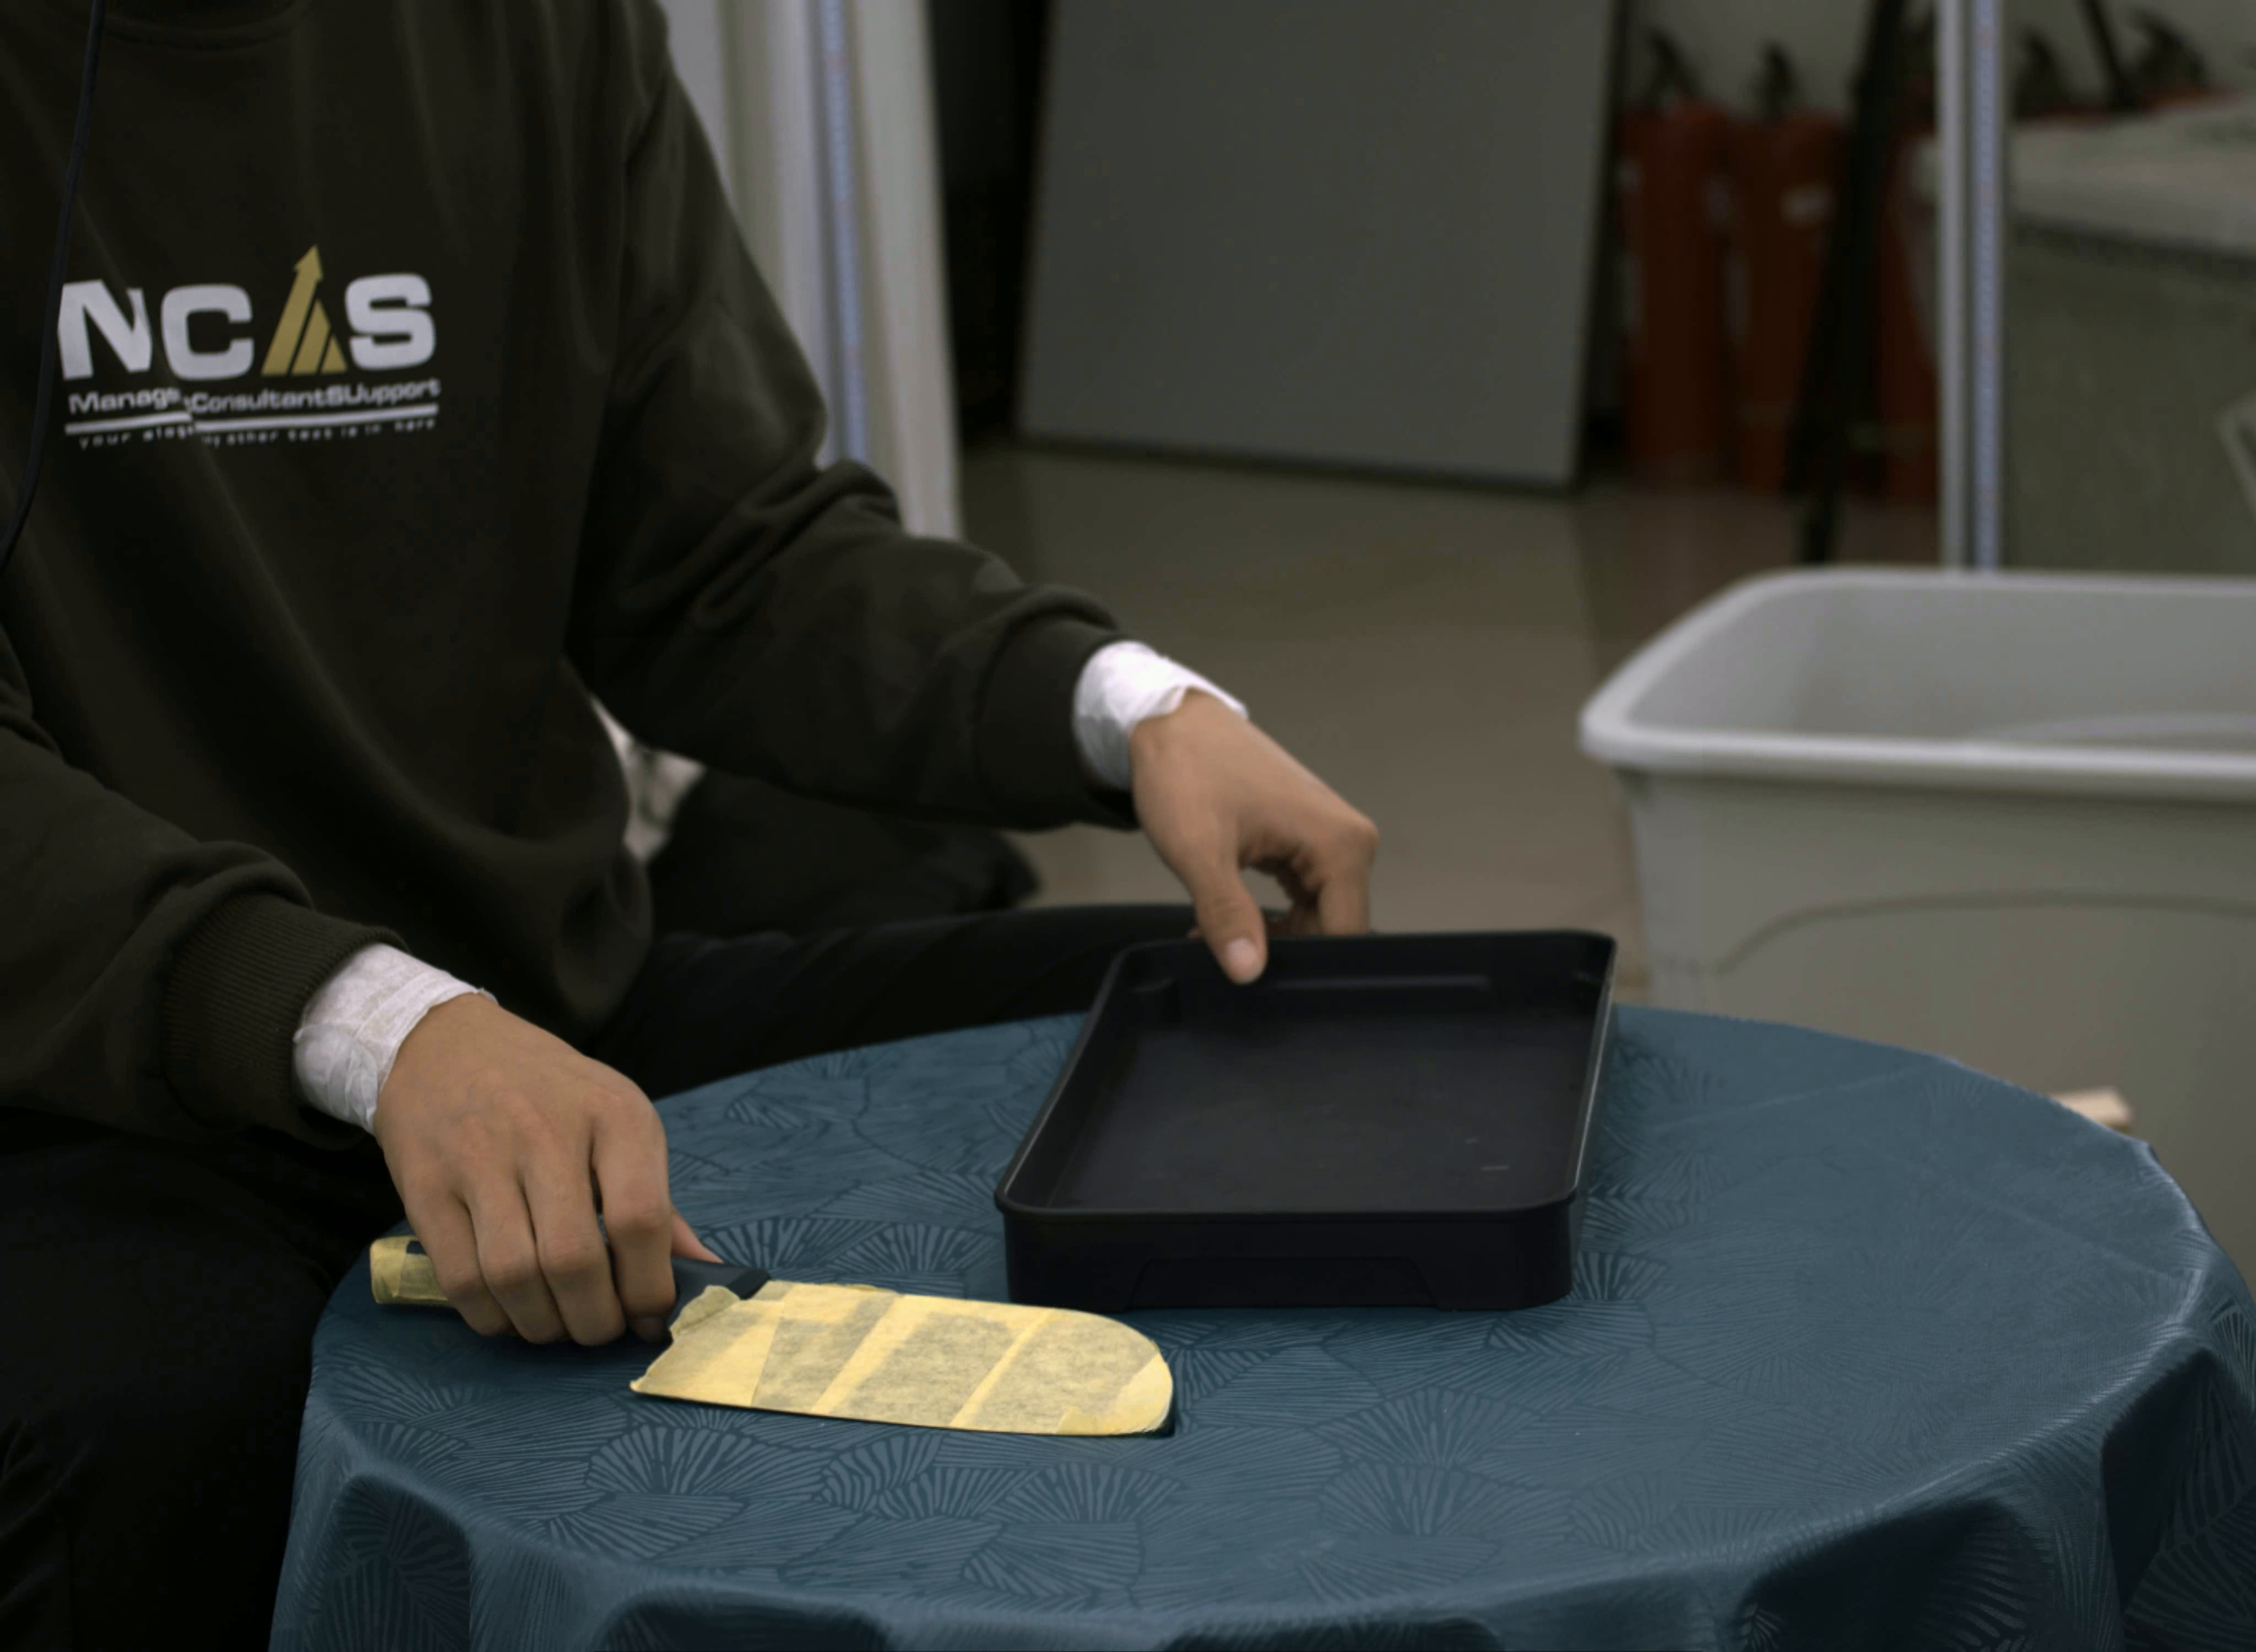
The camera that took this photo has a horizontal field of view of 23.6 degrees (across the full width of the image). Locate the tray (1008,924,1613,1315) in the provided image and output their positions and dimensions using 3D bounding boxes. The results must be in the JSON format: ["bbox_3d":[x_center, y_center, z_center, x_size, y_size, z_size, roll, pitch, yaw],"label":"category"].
[{"bbox_3d":[0.069,0.093,1.794,0.183,0.037,0.317,-3,14,8],"label":"tray"}]

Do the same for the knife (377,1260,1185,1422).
[{"bbox_3d":[-0.112,0.158,1.629,0.290,0.027,0.080,3,21,28],"label":"knife"}]
